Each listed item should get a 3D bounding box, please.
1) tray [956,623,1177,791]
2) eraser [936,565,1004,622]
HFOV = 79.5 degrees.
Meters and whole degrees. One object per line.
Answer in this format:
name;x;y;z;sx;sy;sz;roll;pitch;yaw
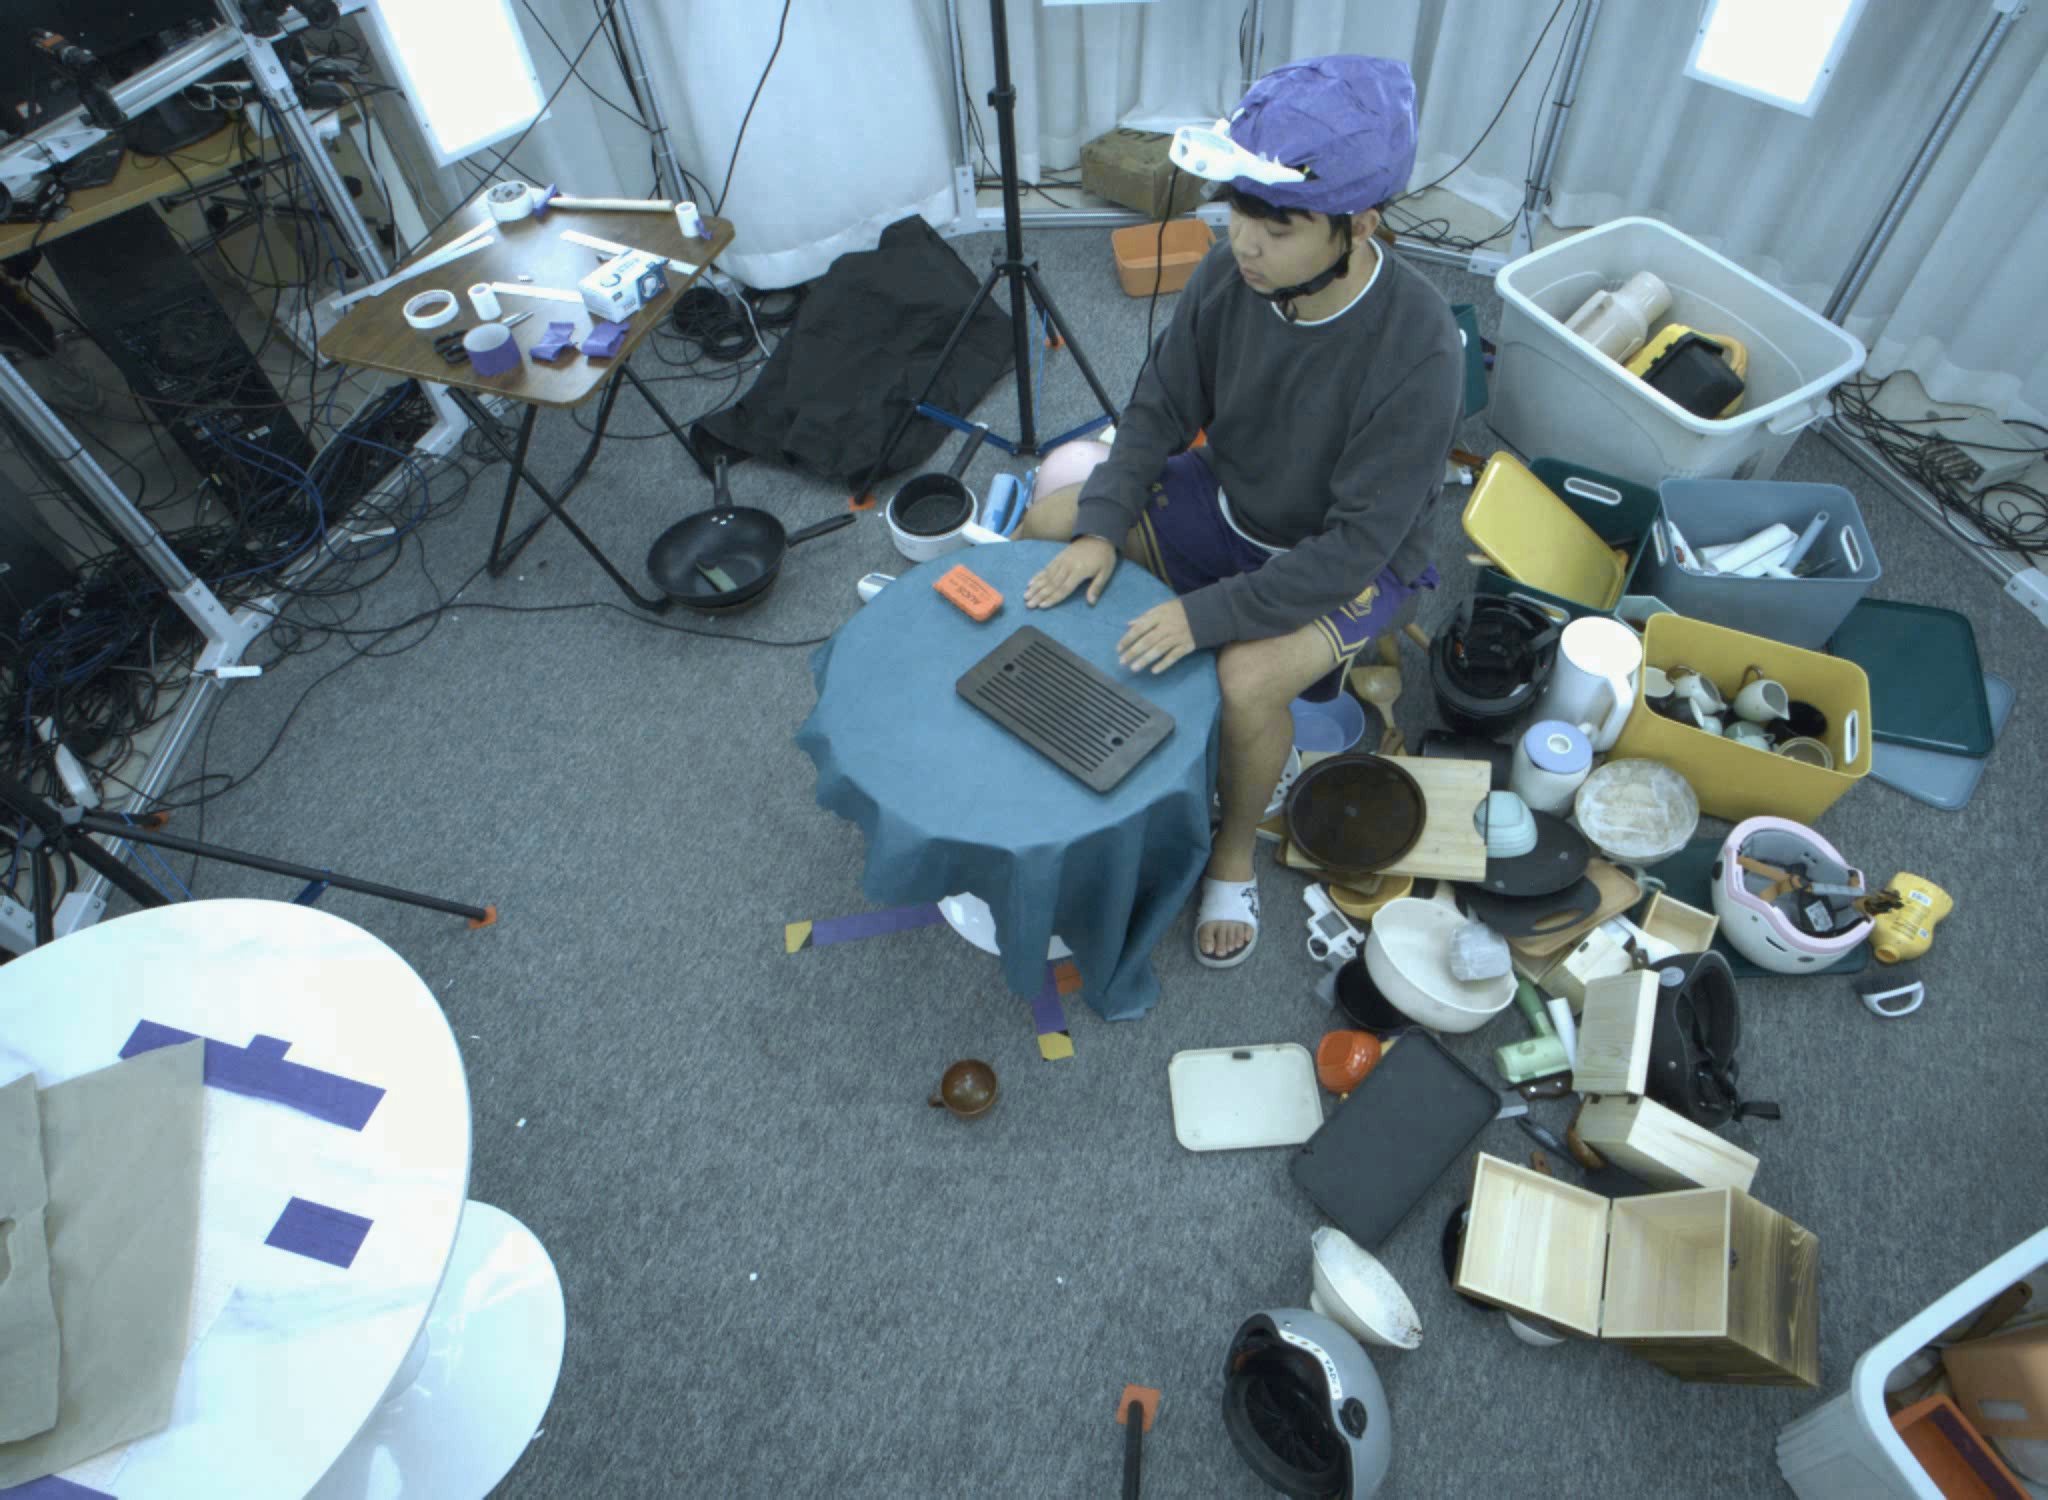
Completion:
tray;0.061;-0.067;1.824;0.300;0.019;0.171;36;63;24
eraser;-0.087;-0.250;1.952;0.059;0.023;0.106;-39;61;-23
